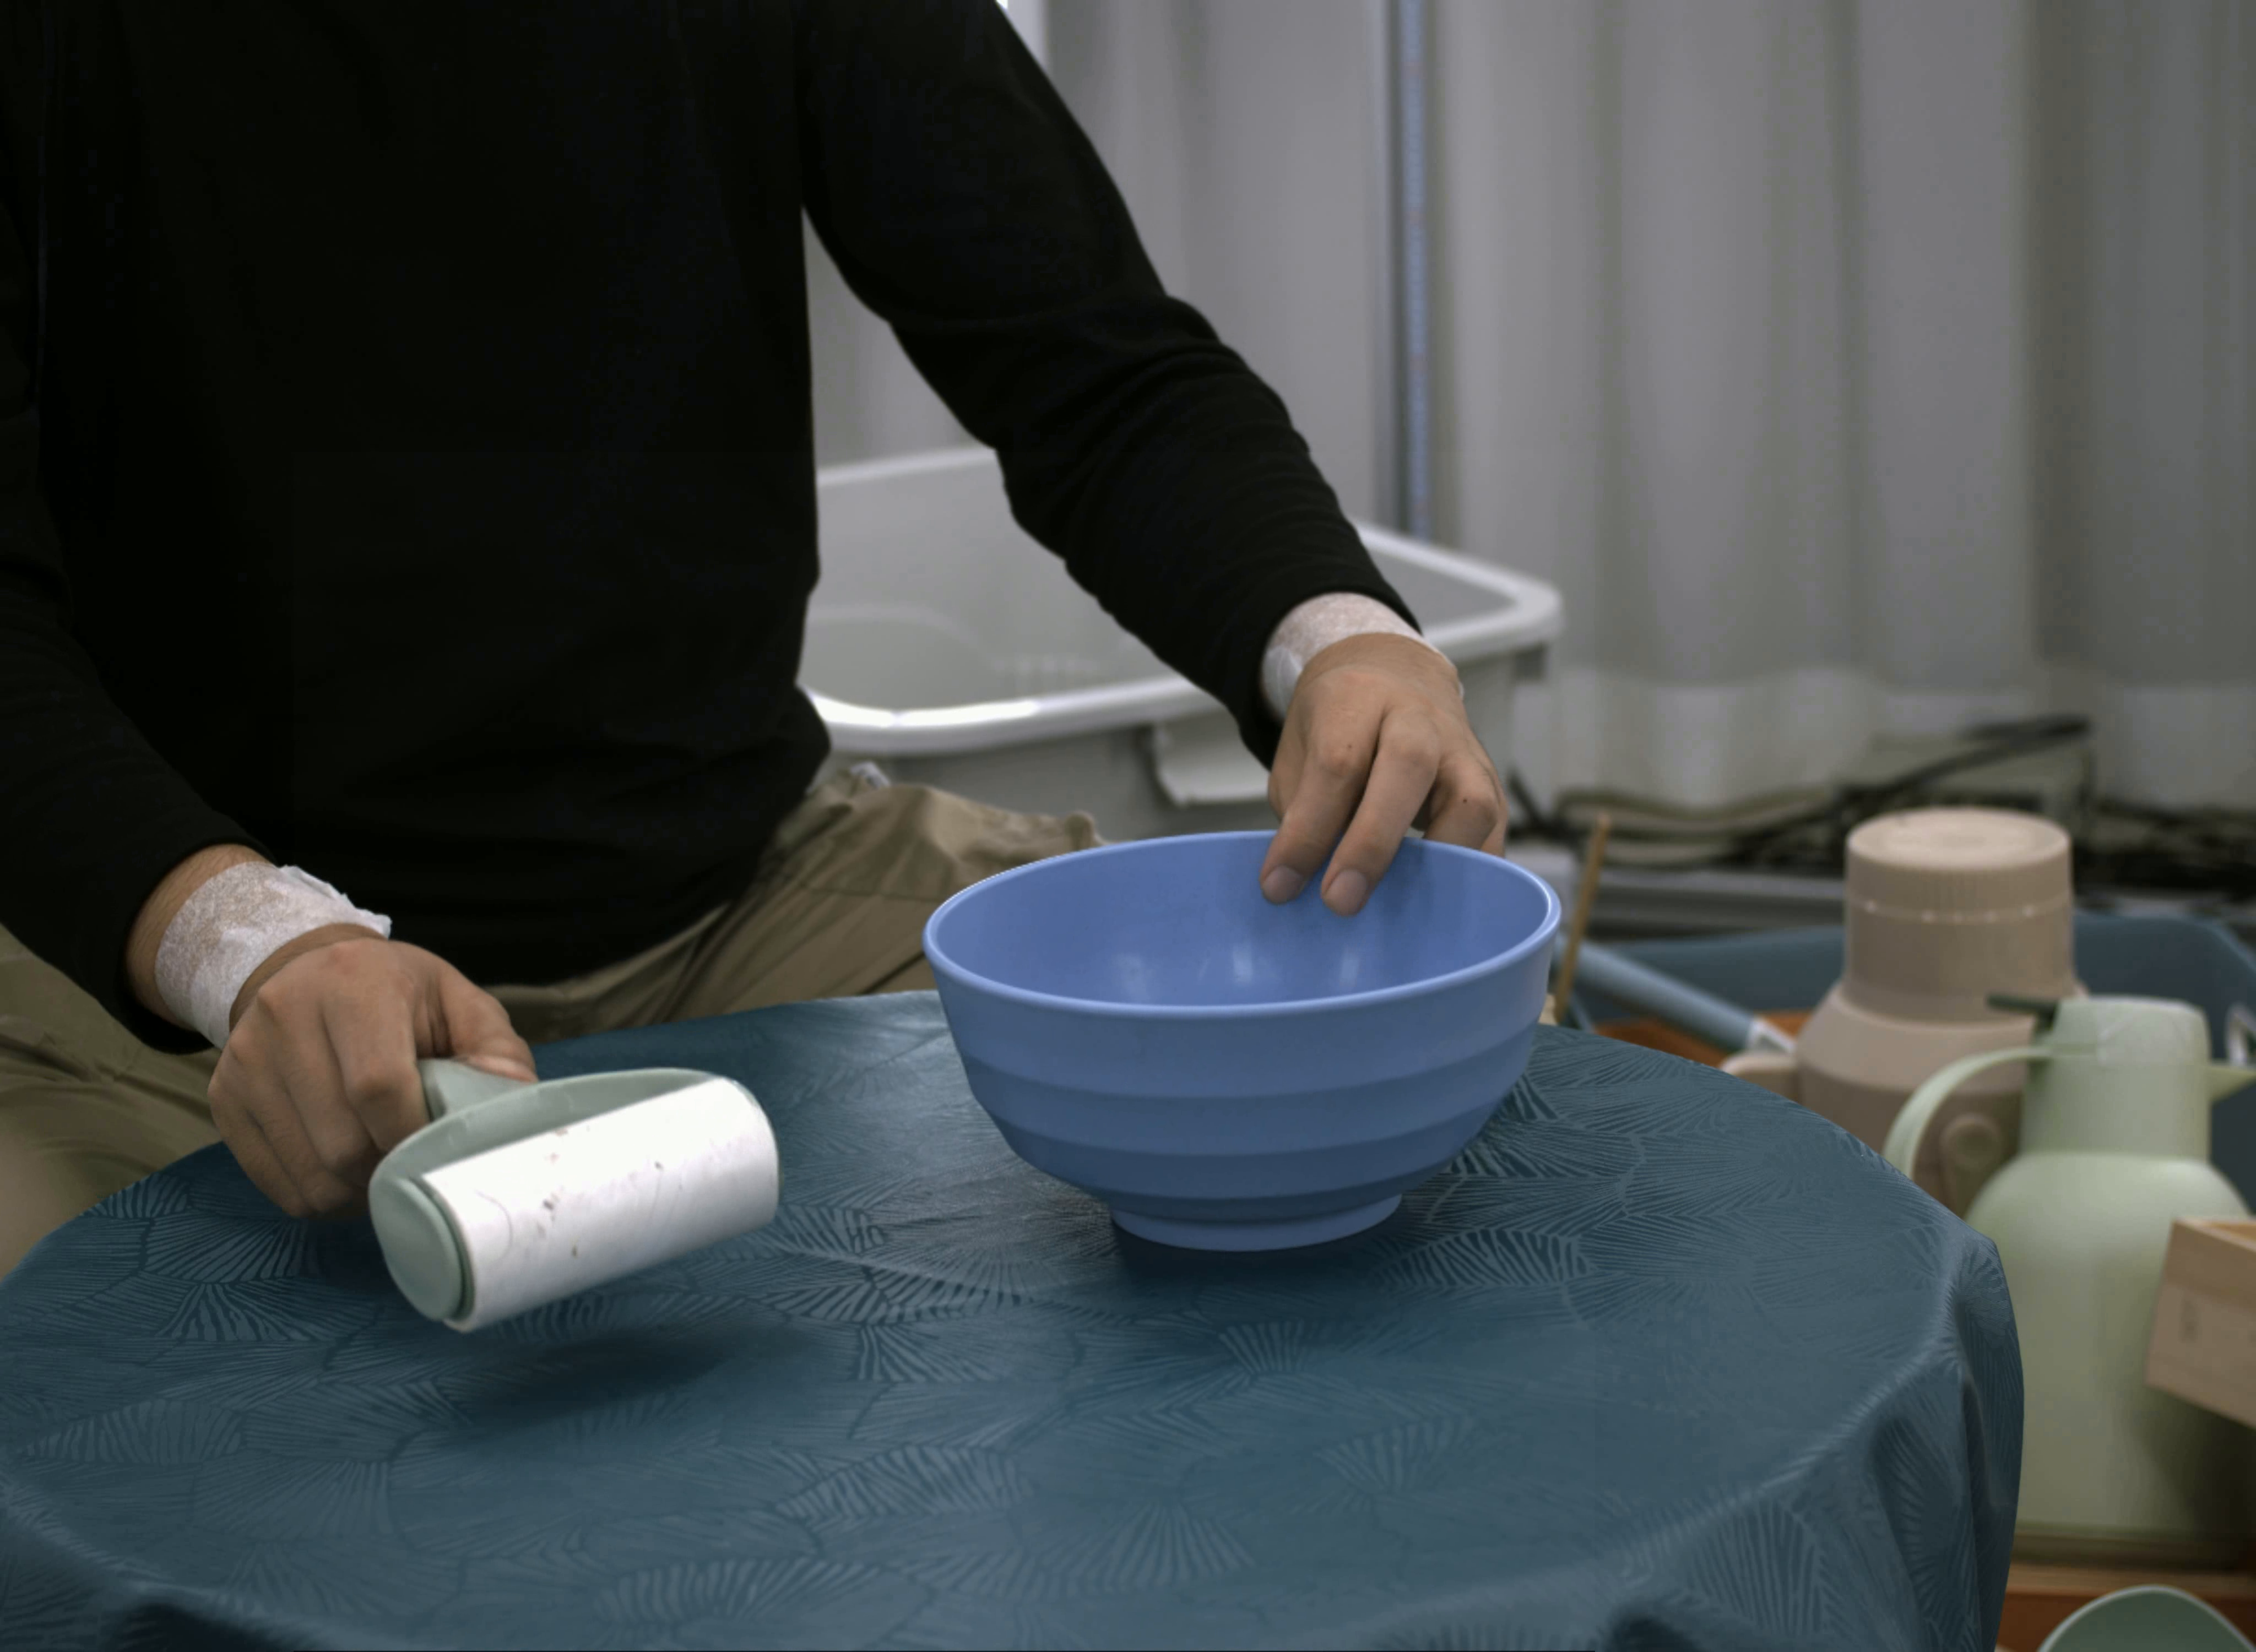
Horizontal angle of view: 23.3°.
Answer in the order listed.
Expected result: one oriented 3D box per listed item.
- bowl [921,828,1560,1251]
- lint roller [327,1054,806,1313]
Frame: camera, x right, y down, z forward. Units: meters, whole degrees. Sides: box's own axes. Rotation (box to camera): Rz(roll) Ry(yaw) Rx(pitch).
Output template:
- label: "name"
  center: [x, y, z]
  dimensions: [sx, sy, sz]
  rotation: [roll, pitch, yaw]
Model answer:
- label: "bowl"
  center: [0.037, 0.071, 1.685]
  dimensions: [0.196, 0.095, 0.198]
  rotation: [-4, 15, 1]
- label: "lint roller"
  center: [-0.189, 0.093, 1.639]
  dimensions: [0.116, 0.048, 0.199]
  rotation: [-18, 18, -30]
